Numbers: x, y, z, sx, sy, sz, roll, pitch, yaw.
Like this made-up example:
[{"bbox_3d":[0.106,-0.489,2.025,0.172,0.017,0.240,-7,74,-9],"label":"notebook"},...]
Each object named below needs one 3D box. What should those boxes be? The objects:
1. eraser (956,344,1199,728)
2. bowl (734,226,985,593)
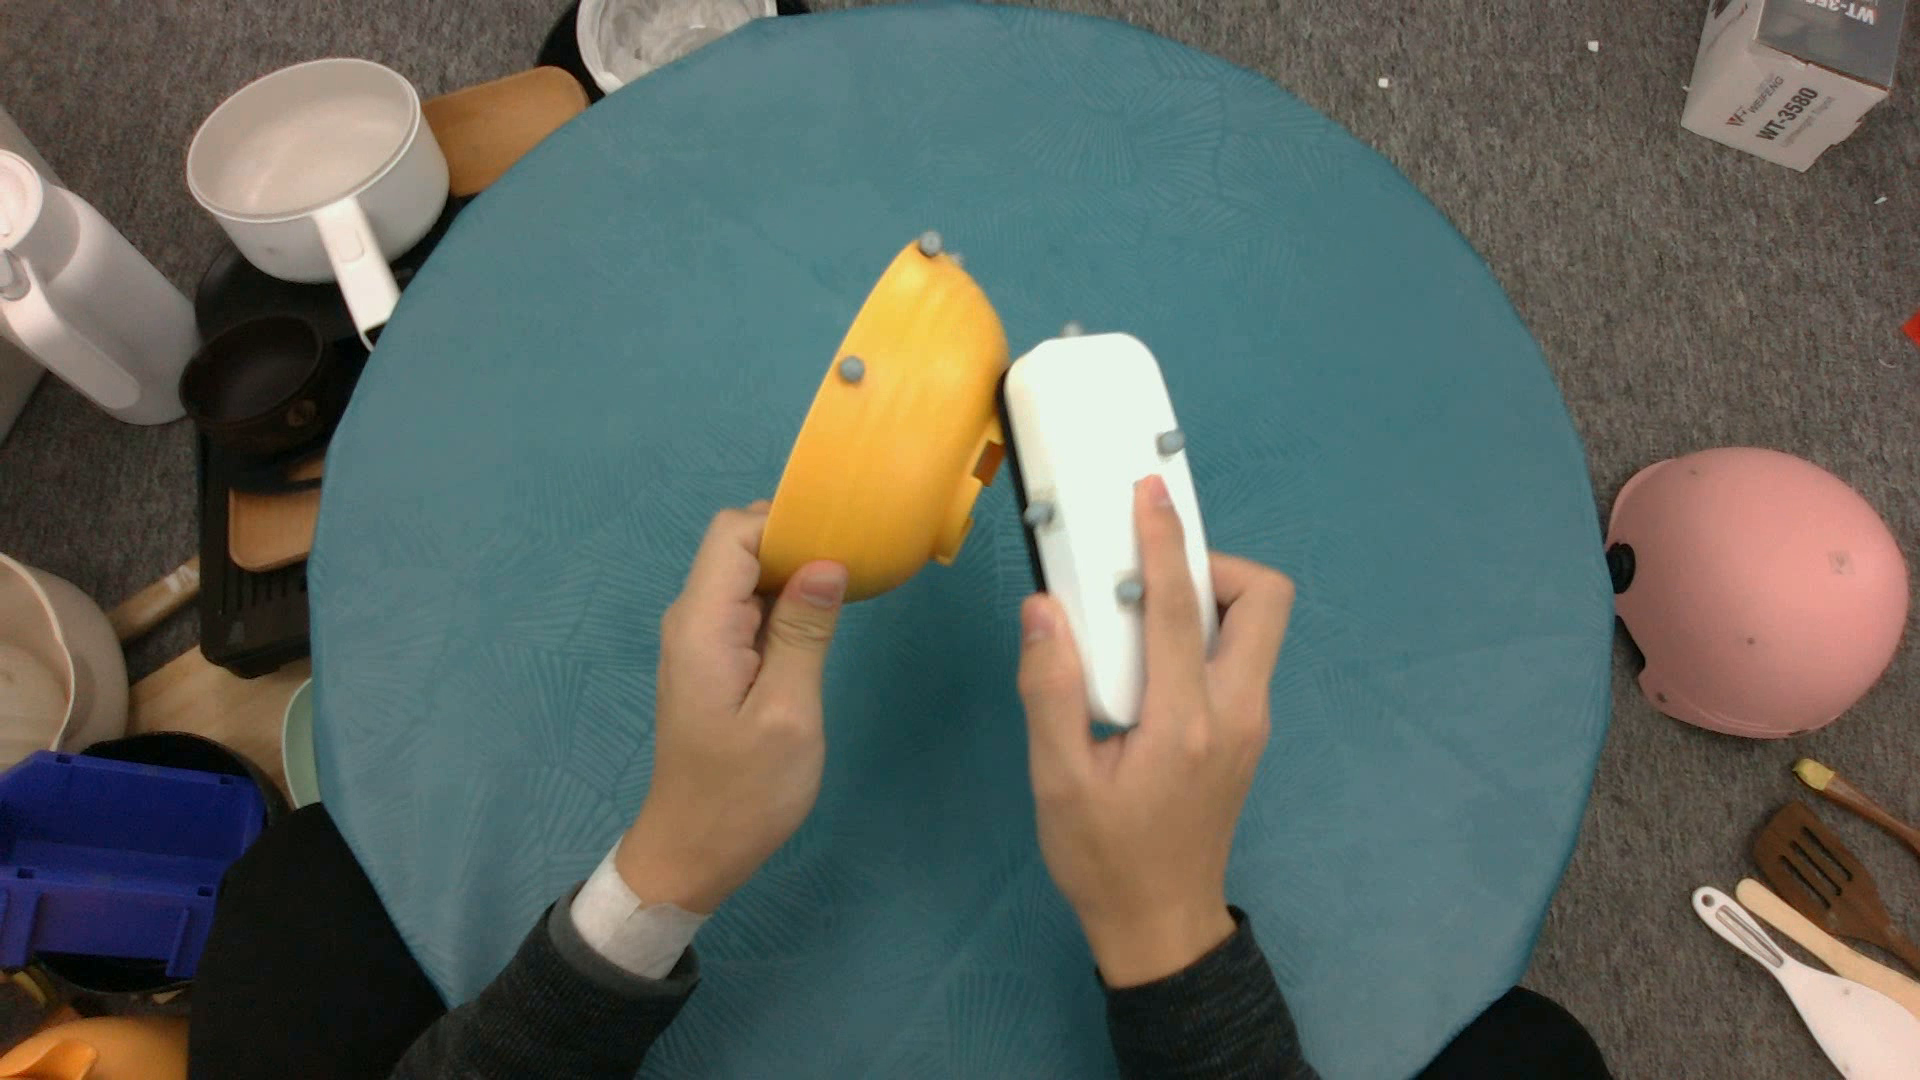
[{"bbox_3d":[0.041,-0.002,0.479,0.063,0.034,0.131,-14,88,-37],"label":"eraser"},{"bbox_3d":[-0.025,-0.038,0.510,0.060,0.145,0.146,23,71,2],"label":"bowl"}]
